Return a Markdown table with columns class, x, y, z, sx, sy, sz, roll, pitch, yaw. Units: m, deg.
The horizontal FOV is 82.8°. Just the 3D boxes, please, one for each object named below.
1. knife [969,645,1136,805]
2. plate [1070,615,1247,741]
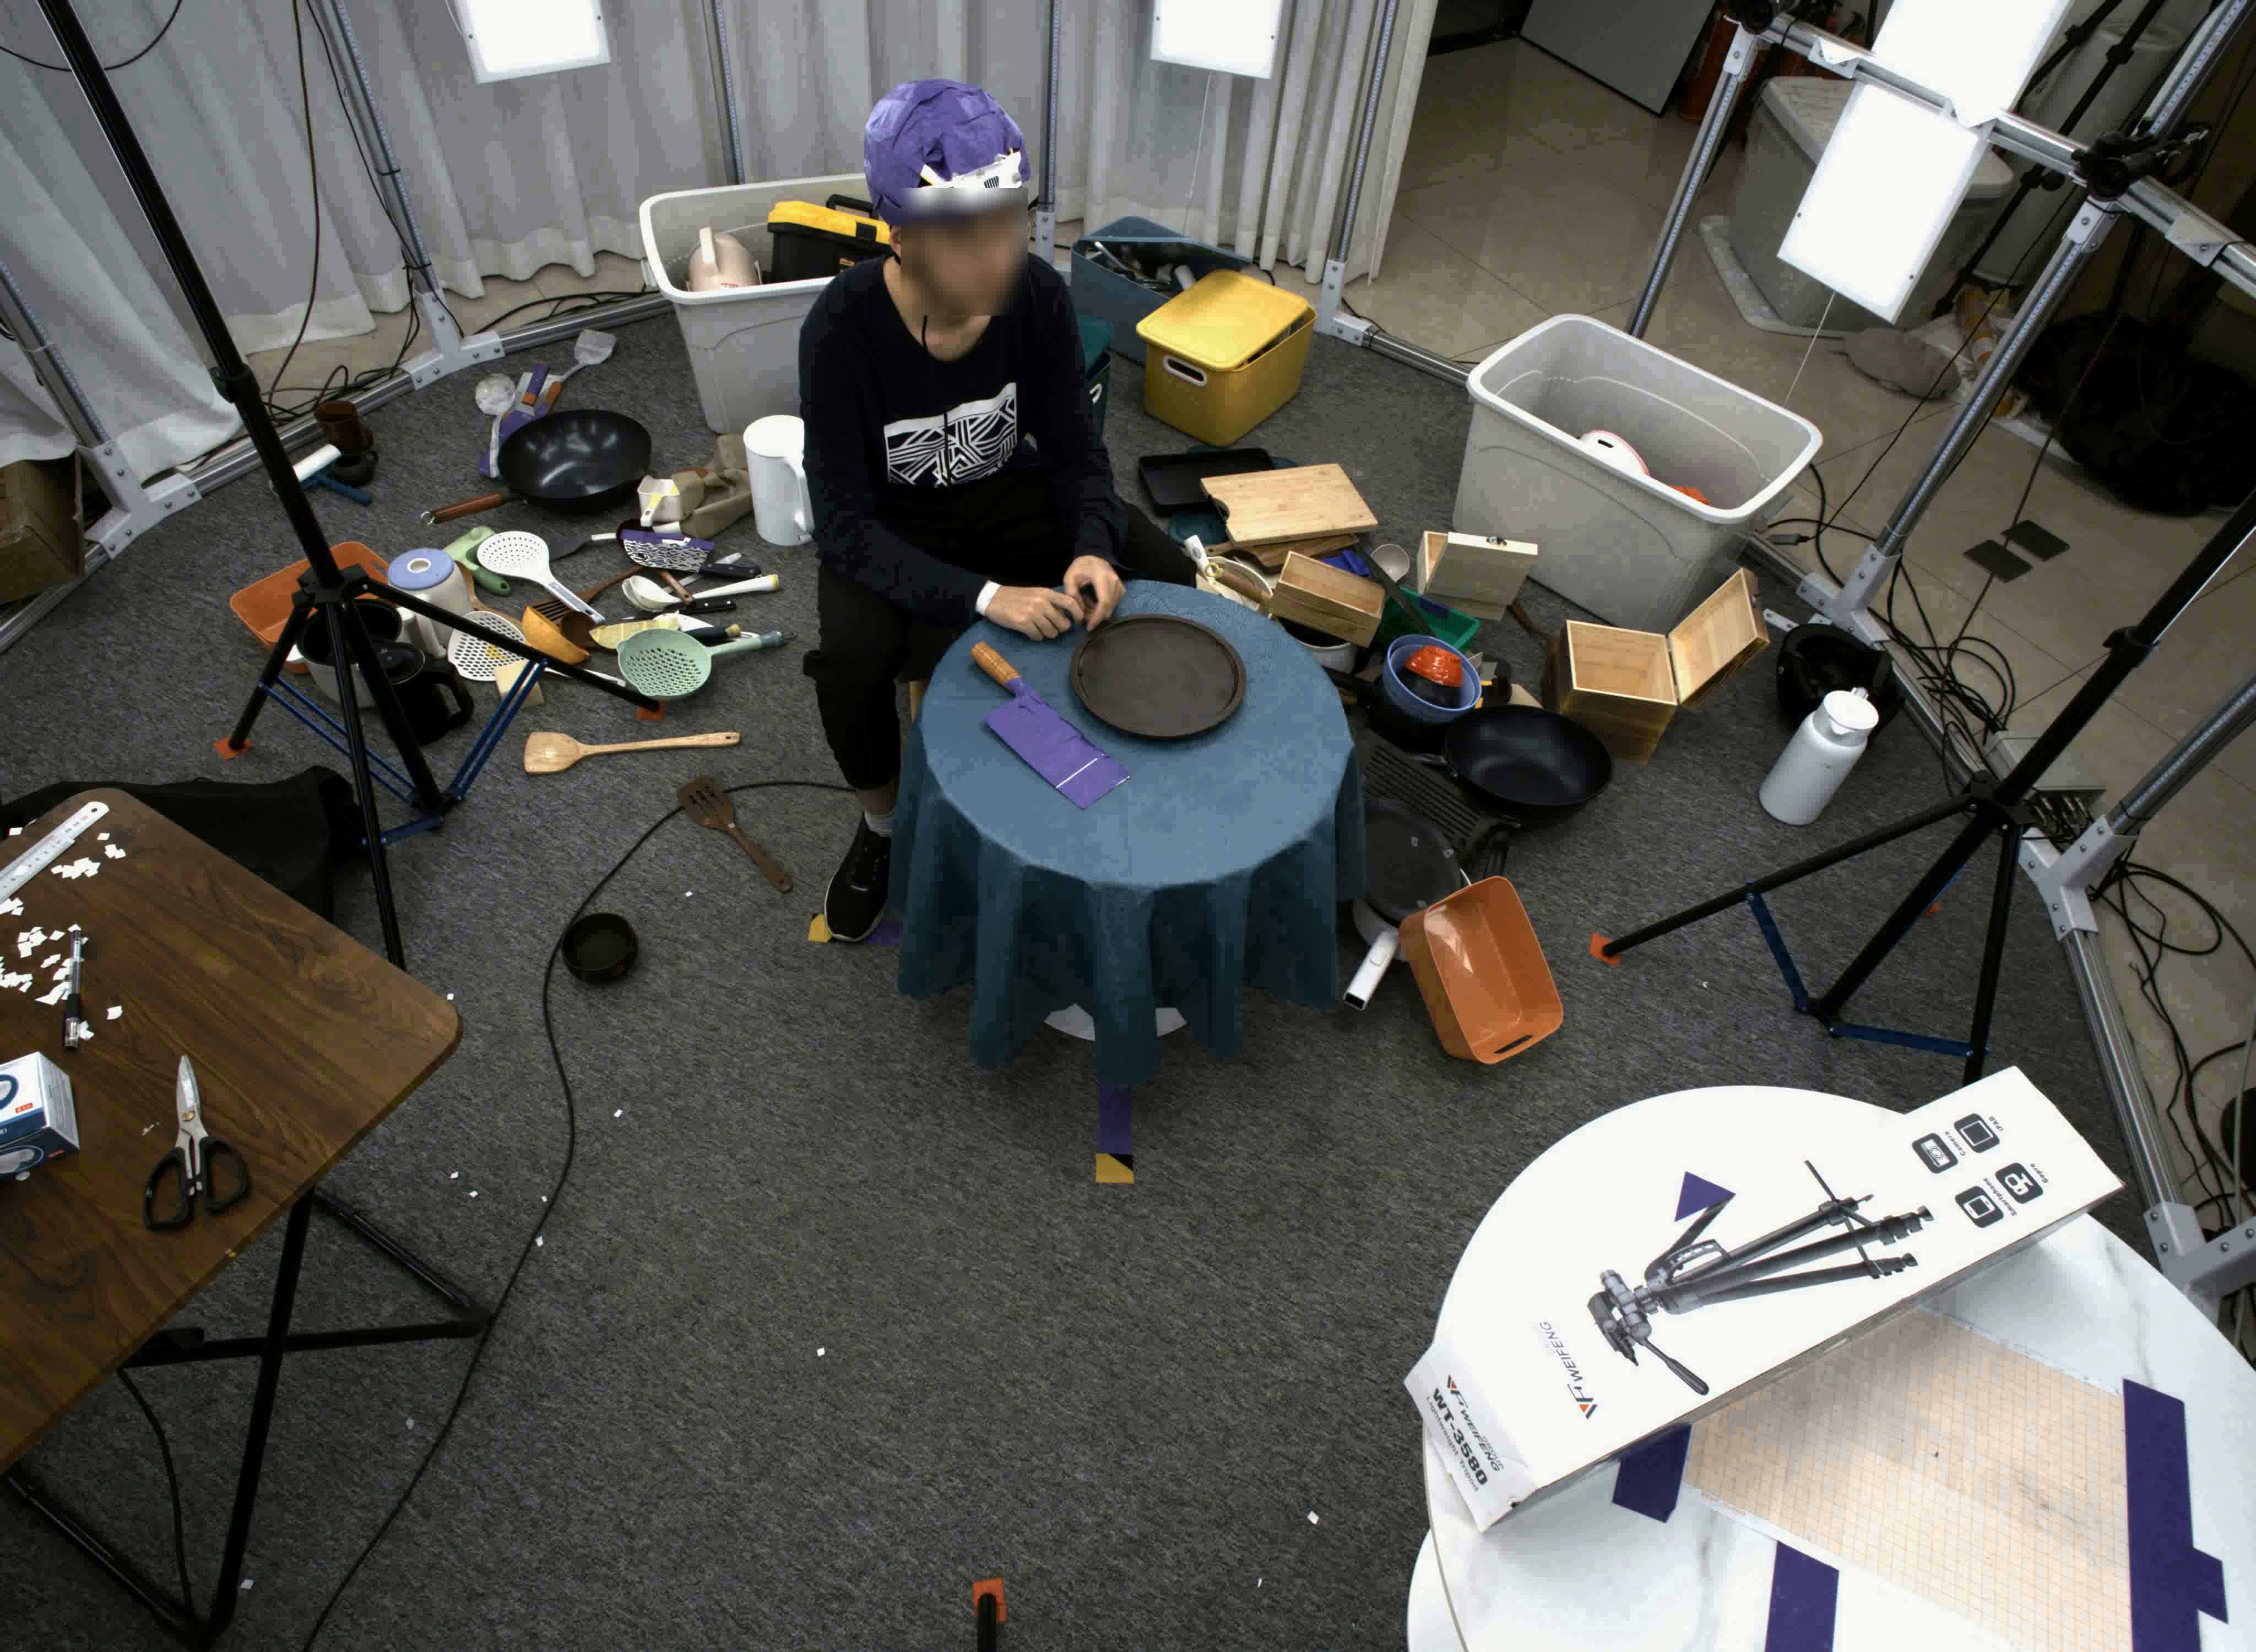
| class | x | y | z | sx | sy | sz | roll | pitch | yaw |
| --- | --- | --- | --- | --- | --- | --- | --- | --- | --- |
| knife | -0.131 | -0.142 | 1.764 | 0.105 | 0.031 | 0.320 | -34 | 59 | -29 |
| plate | 0.044 | -0.214 | 1.841 | 0.254 | 0.028 | 0.261 | 2 | 50 | -3 |
